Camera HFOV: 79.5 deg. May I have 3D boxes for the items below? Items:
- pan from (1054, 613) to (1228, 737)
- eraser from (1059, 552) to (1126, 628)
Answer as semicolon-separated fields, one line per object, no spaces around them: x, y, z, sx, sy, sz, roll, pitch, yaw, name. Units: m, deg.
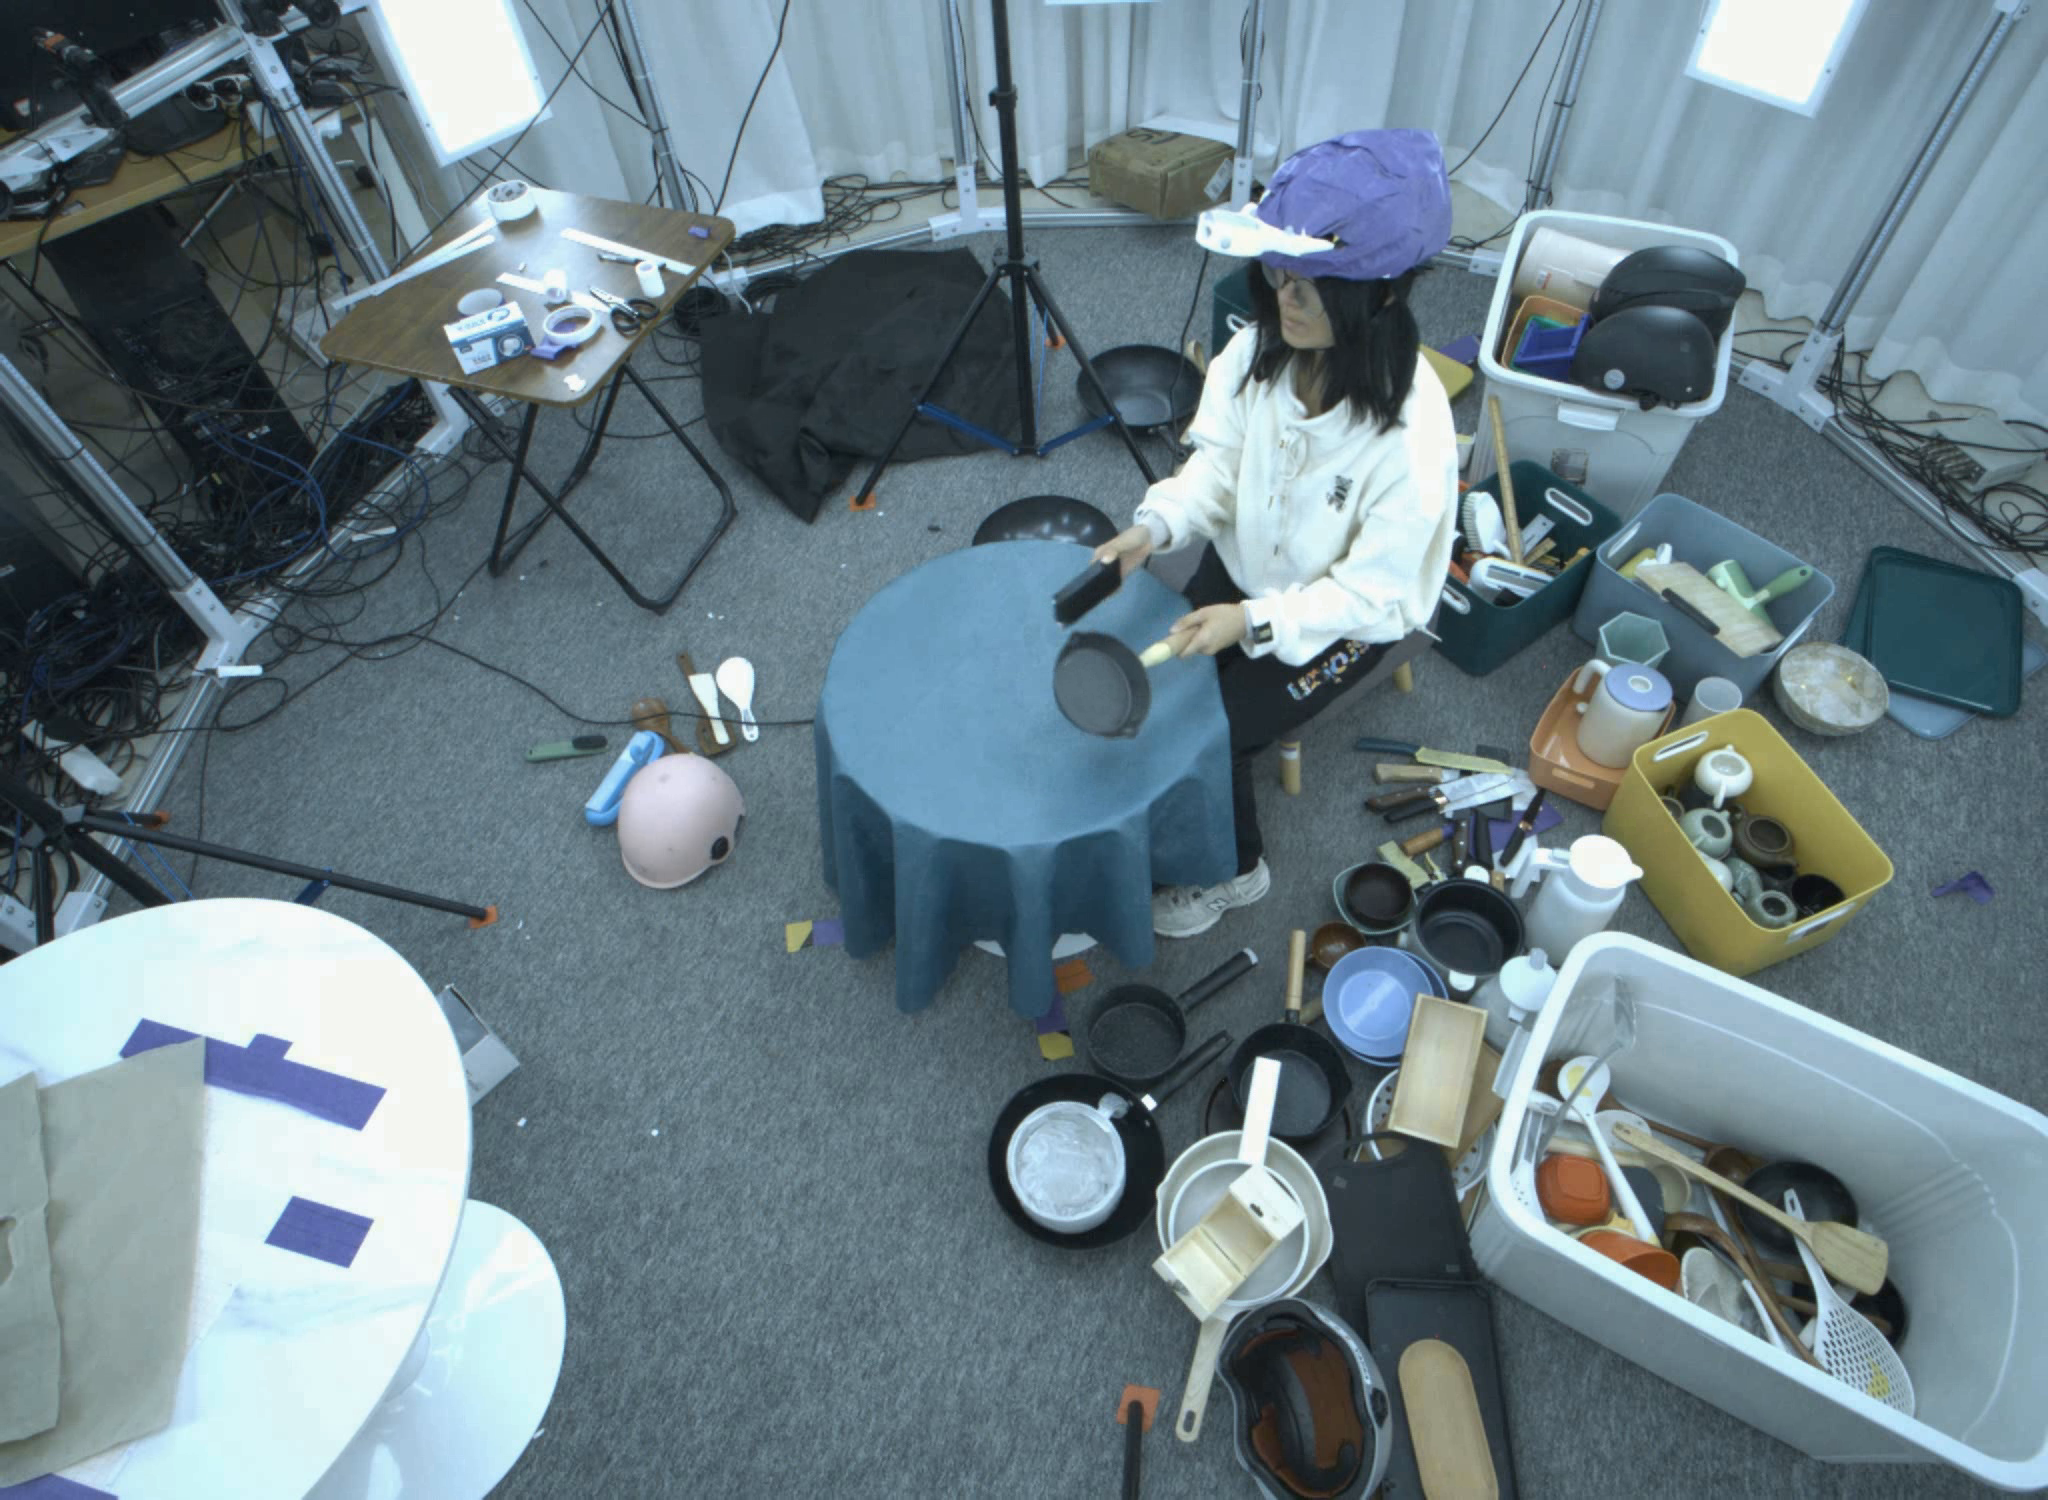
0.170;-0.125;1.737;0.328;0.049;0.169;-29;92;-33;pan
0.099;-0.232;1.781;0.030;0.054;0.126;30;56;28;eraser
